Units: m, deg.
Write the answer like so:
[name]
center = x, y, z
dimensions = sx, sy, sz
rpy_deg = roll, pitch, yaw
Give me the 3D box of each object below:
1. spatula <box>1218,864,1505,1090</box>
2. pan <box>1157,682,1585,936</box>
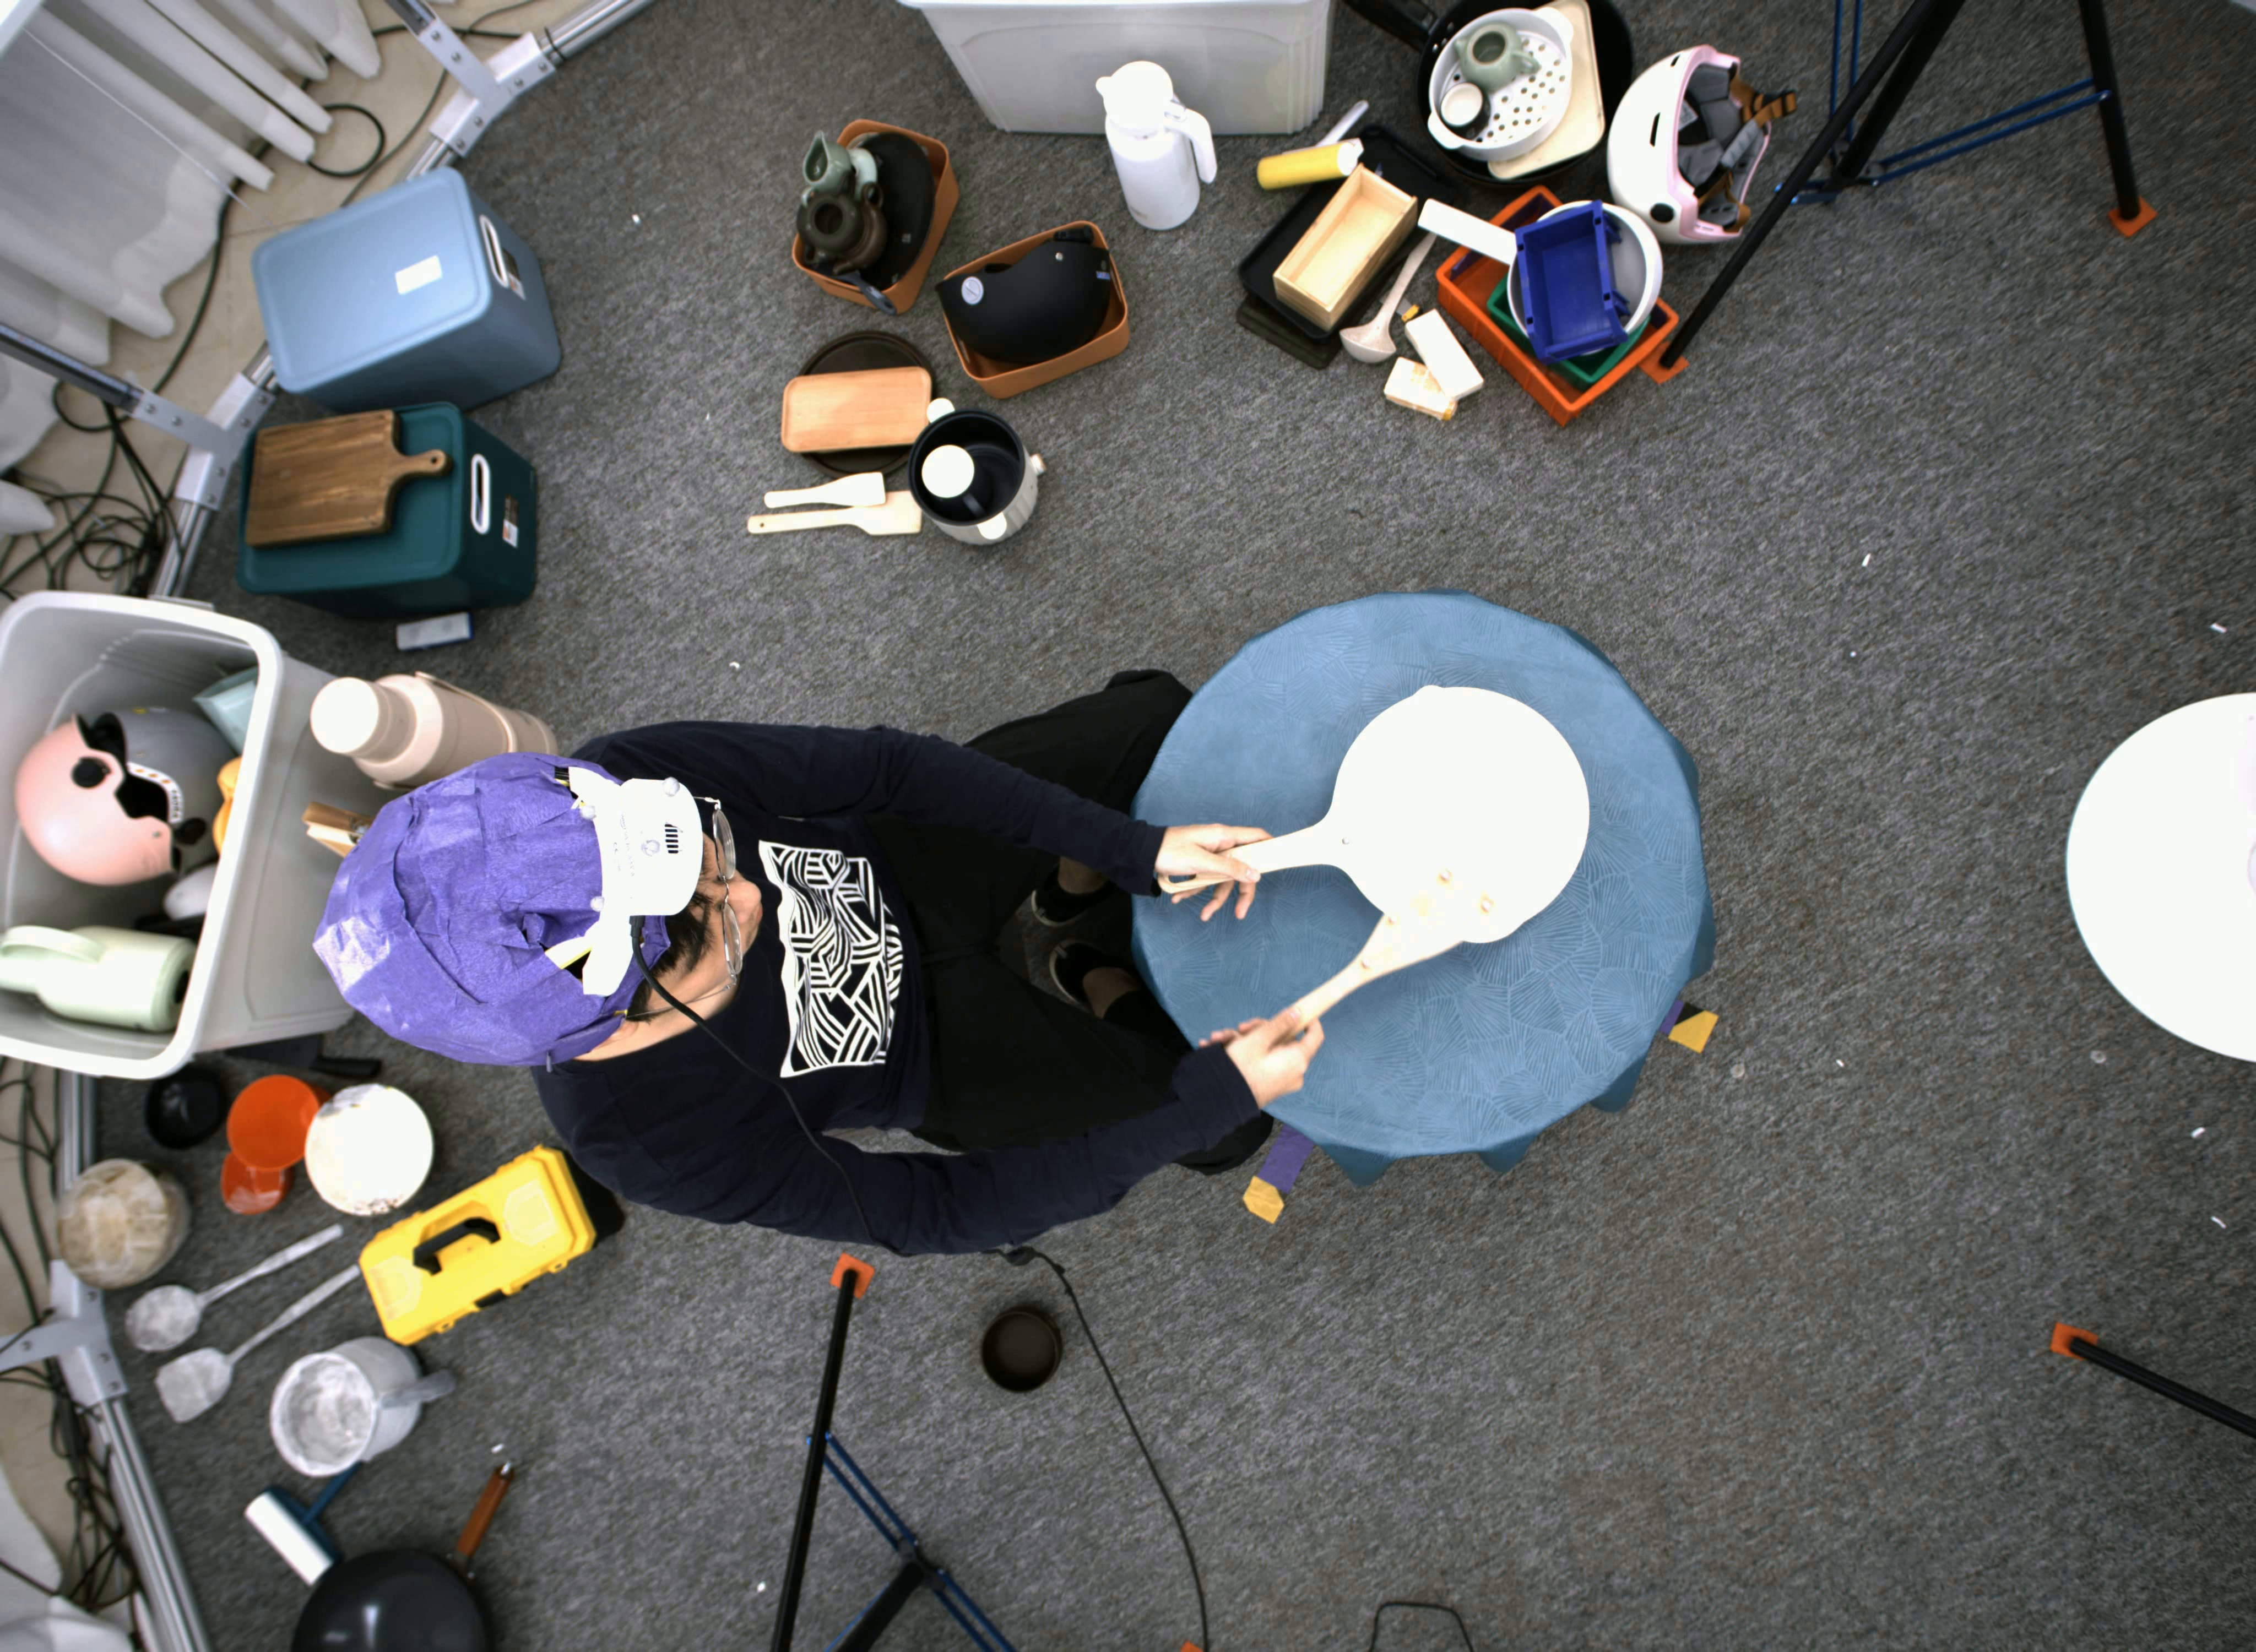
[spatula]
center = 0.213, 0.143, 1.297
dimensions = 0.324, 0.017, 0.079
rpy_deg = -34, 69, -16
[pan]
center = 0.245, 0.005, 1.419
dimensions = 0.437, 0.102, 0.262
rpy_deg = -15, 85, 10
